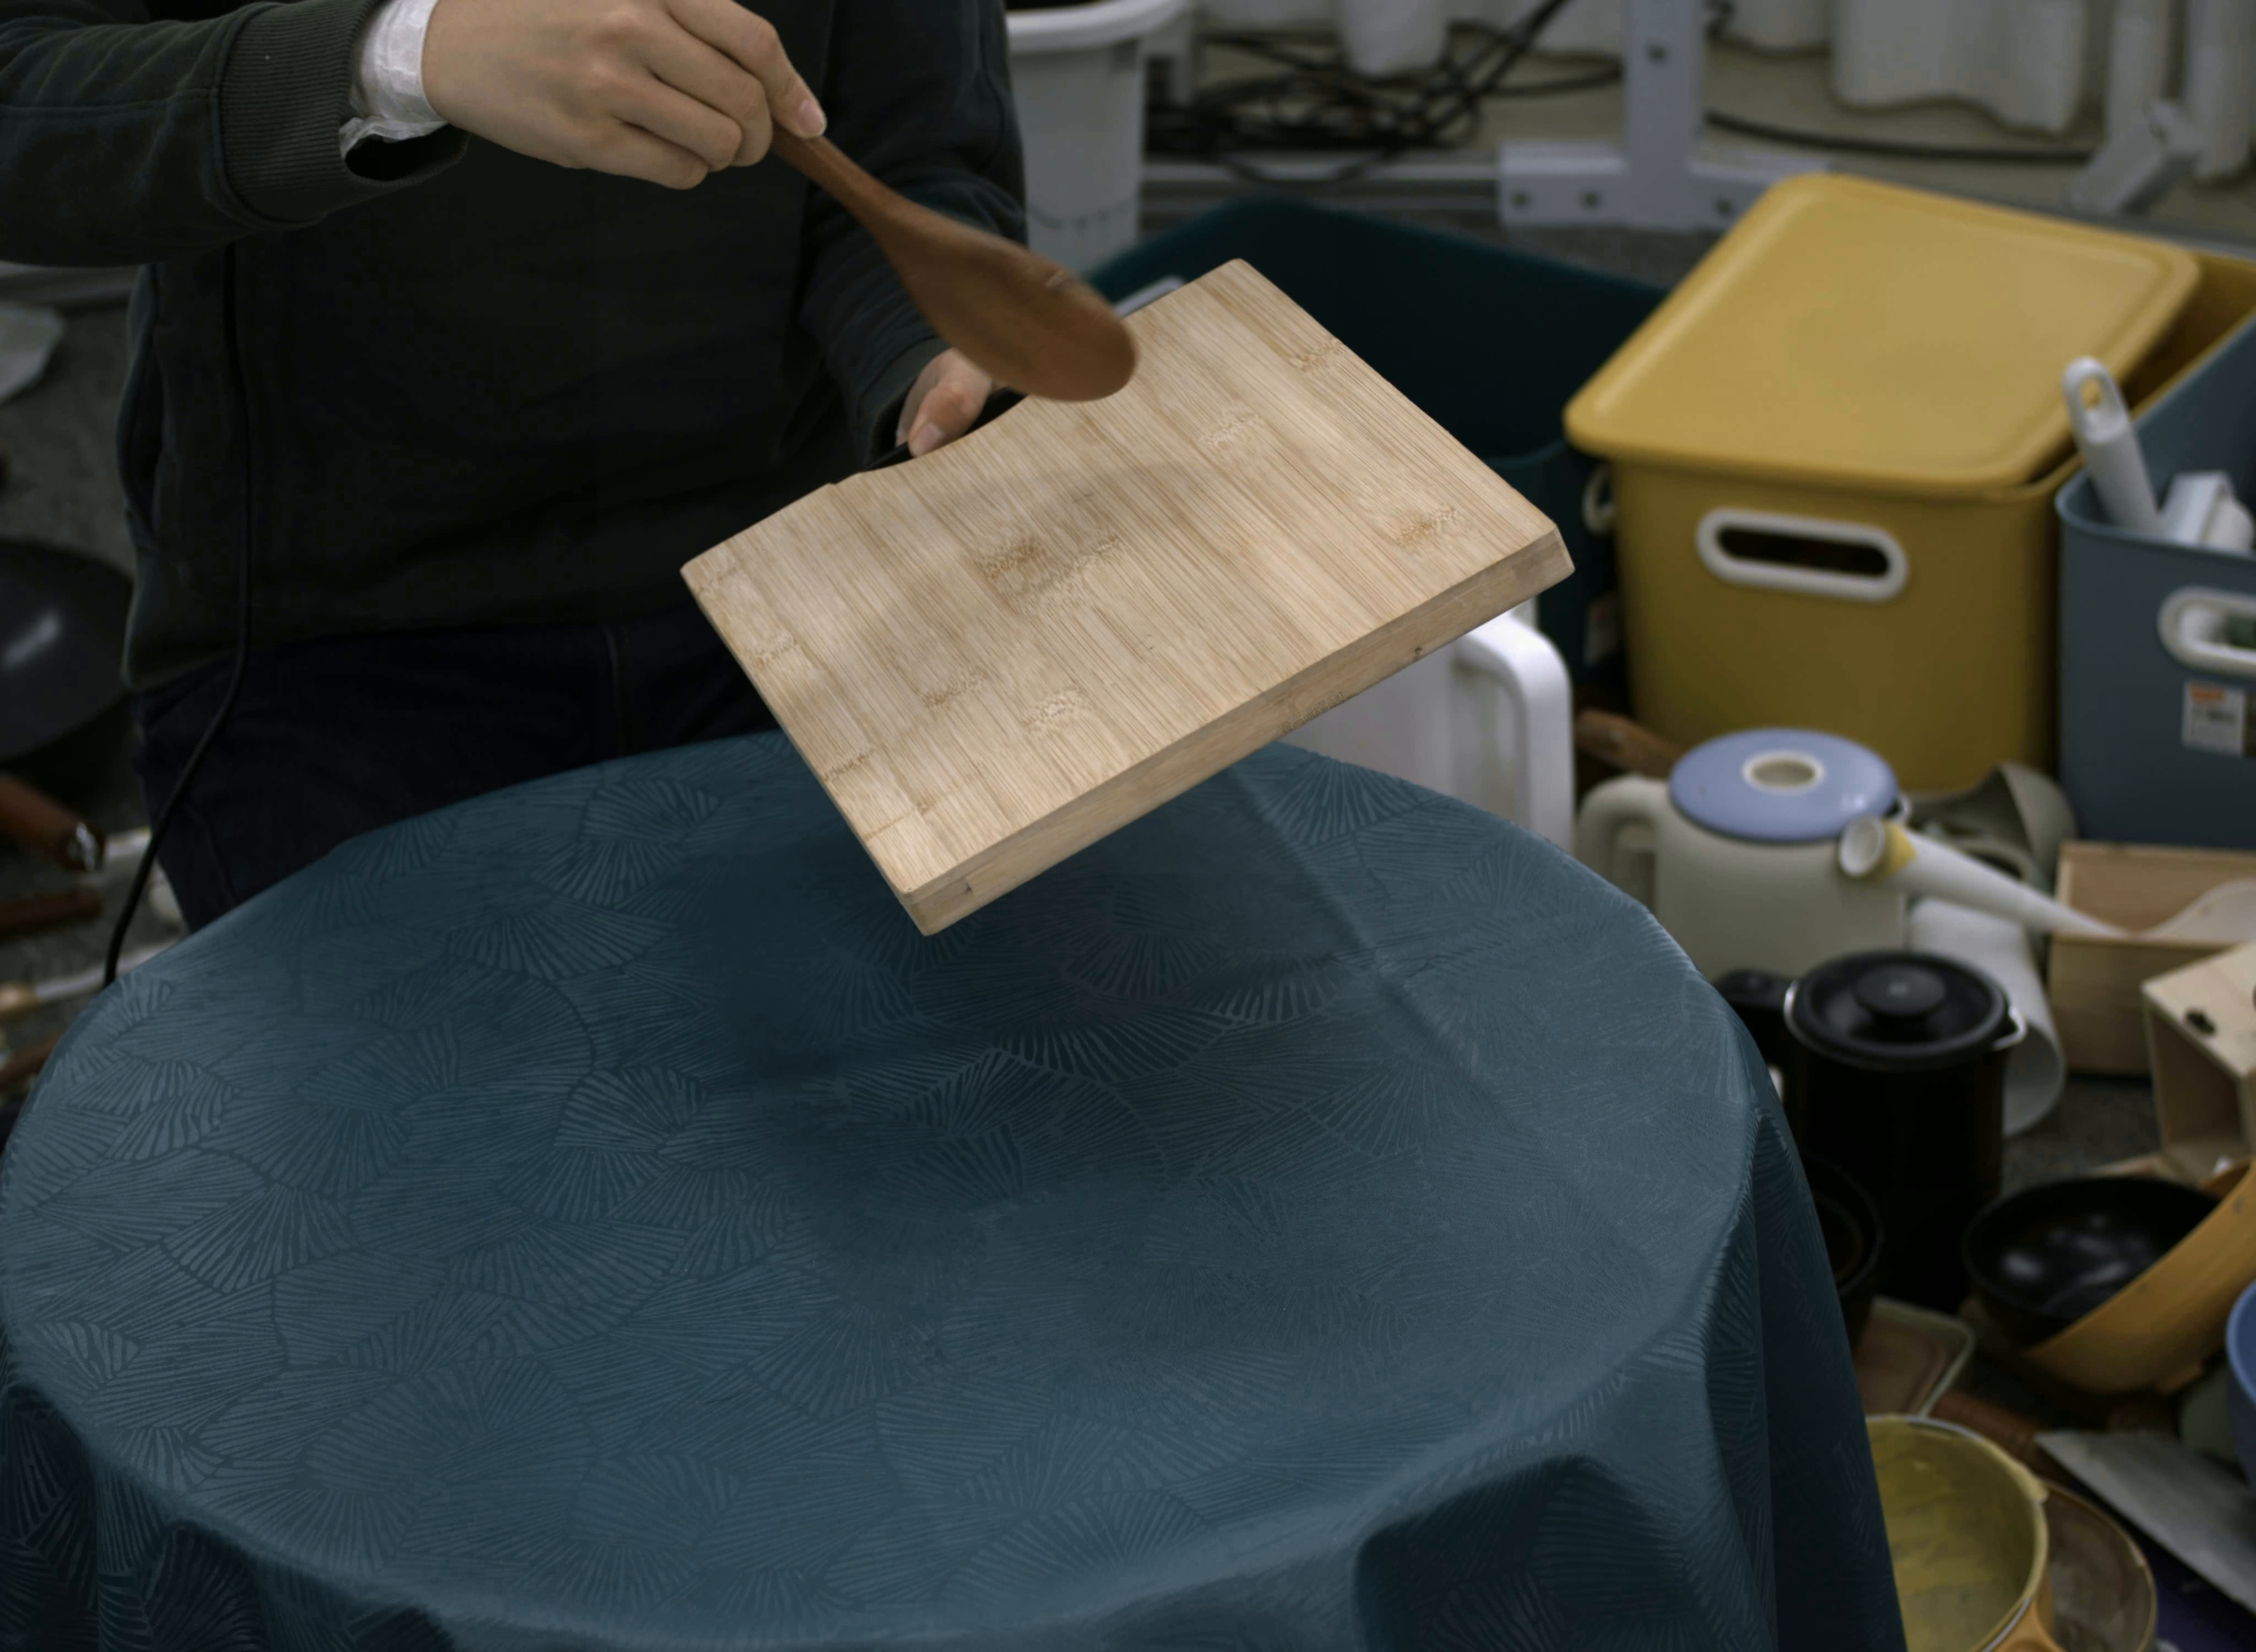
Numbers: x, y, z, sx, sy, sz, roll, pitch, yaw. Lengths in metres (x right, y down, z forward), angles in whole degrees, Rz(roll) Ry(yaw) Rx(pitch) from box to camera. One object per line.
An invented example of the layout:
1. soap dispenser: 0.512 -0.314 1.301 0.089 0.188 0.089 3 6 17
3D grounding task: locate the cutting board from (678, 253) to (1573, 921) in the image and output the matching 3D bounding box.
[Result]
1. cutting board: -0.011 -0.090 1.936 0.251 0.023 0.351 -29 25 -7

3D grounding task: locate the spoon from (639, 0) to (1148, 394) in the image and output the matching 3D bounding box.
1. spoon: -0.080 -0.210 1.908 0.074 0.215 0.017 -14 43 55
